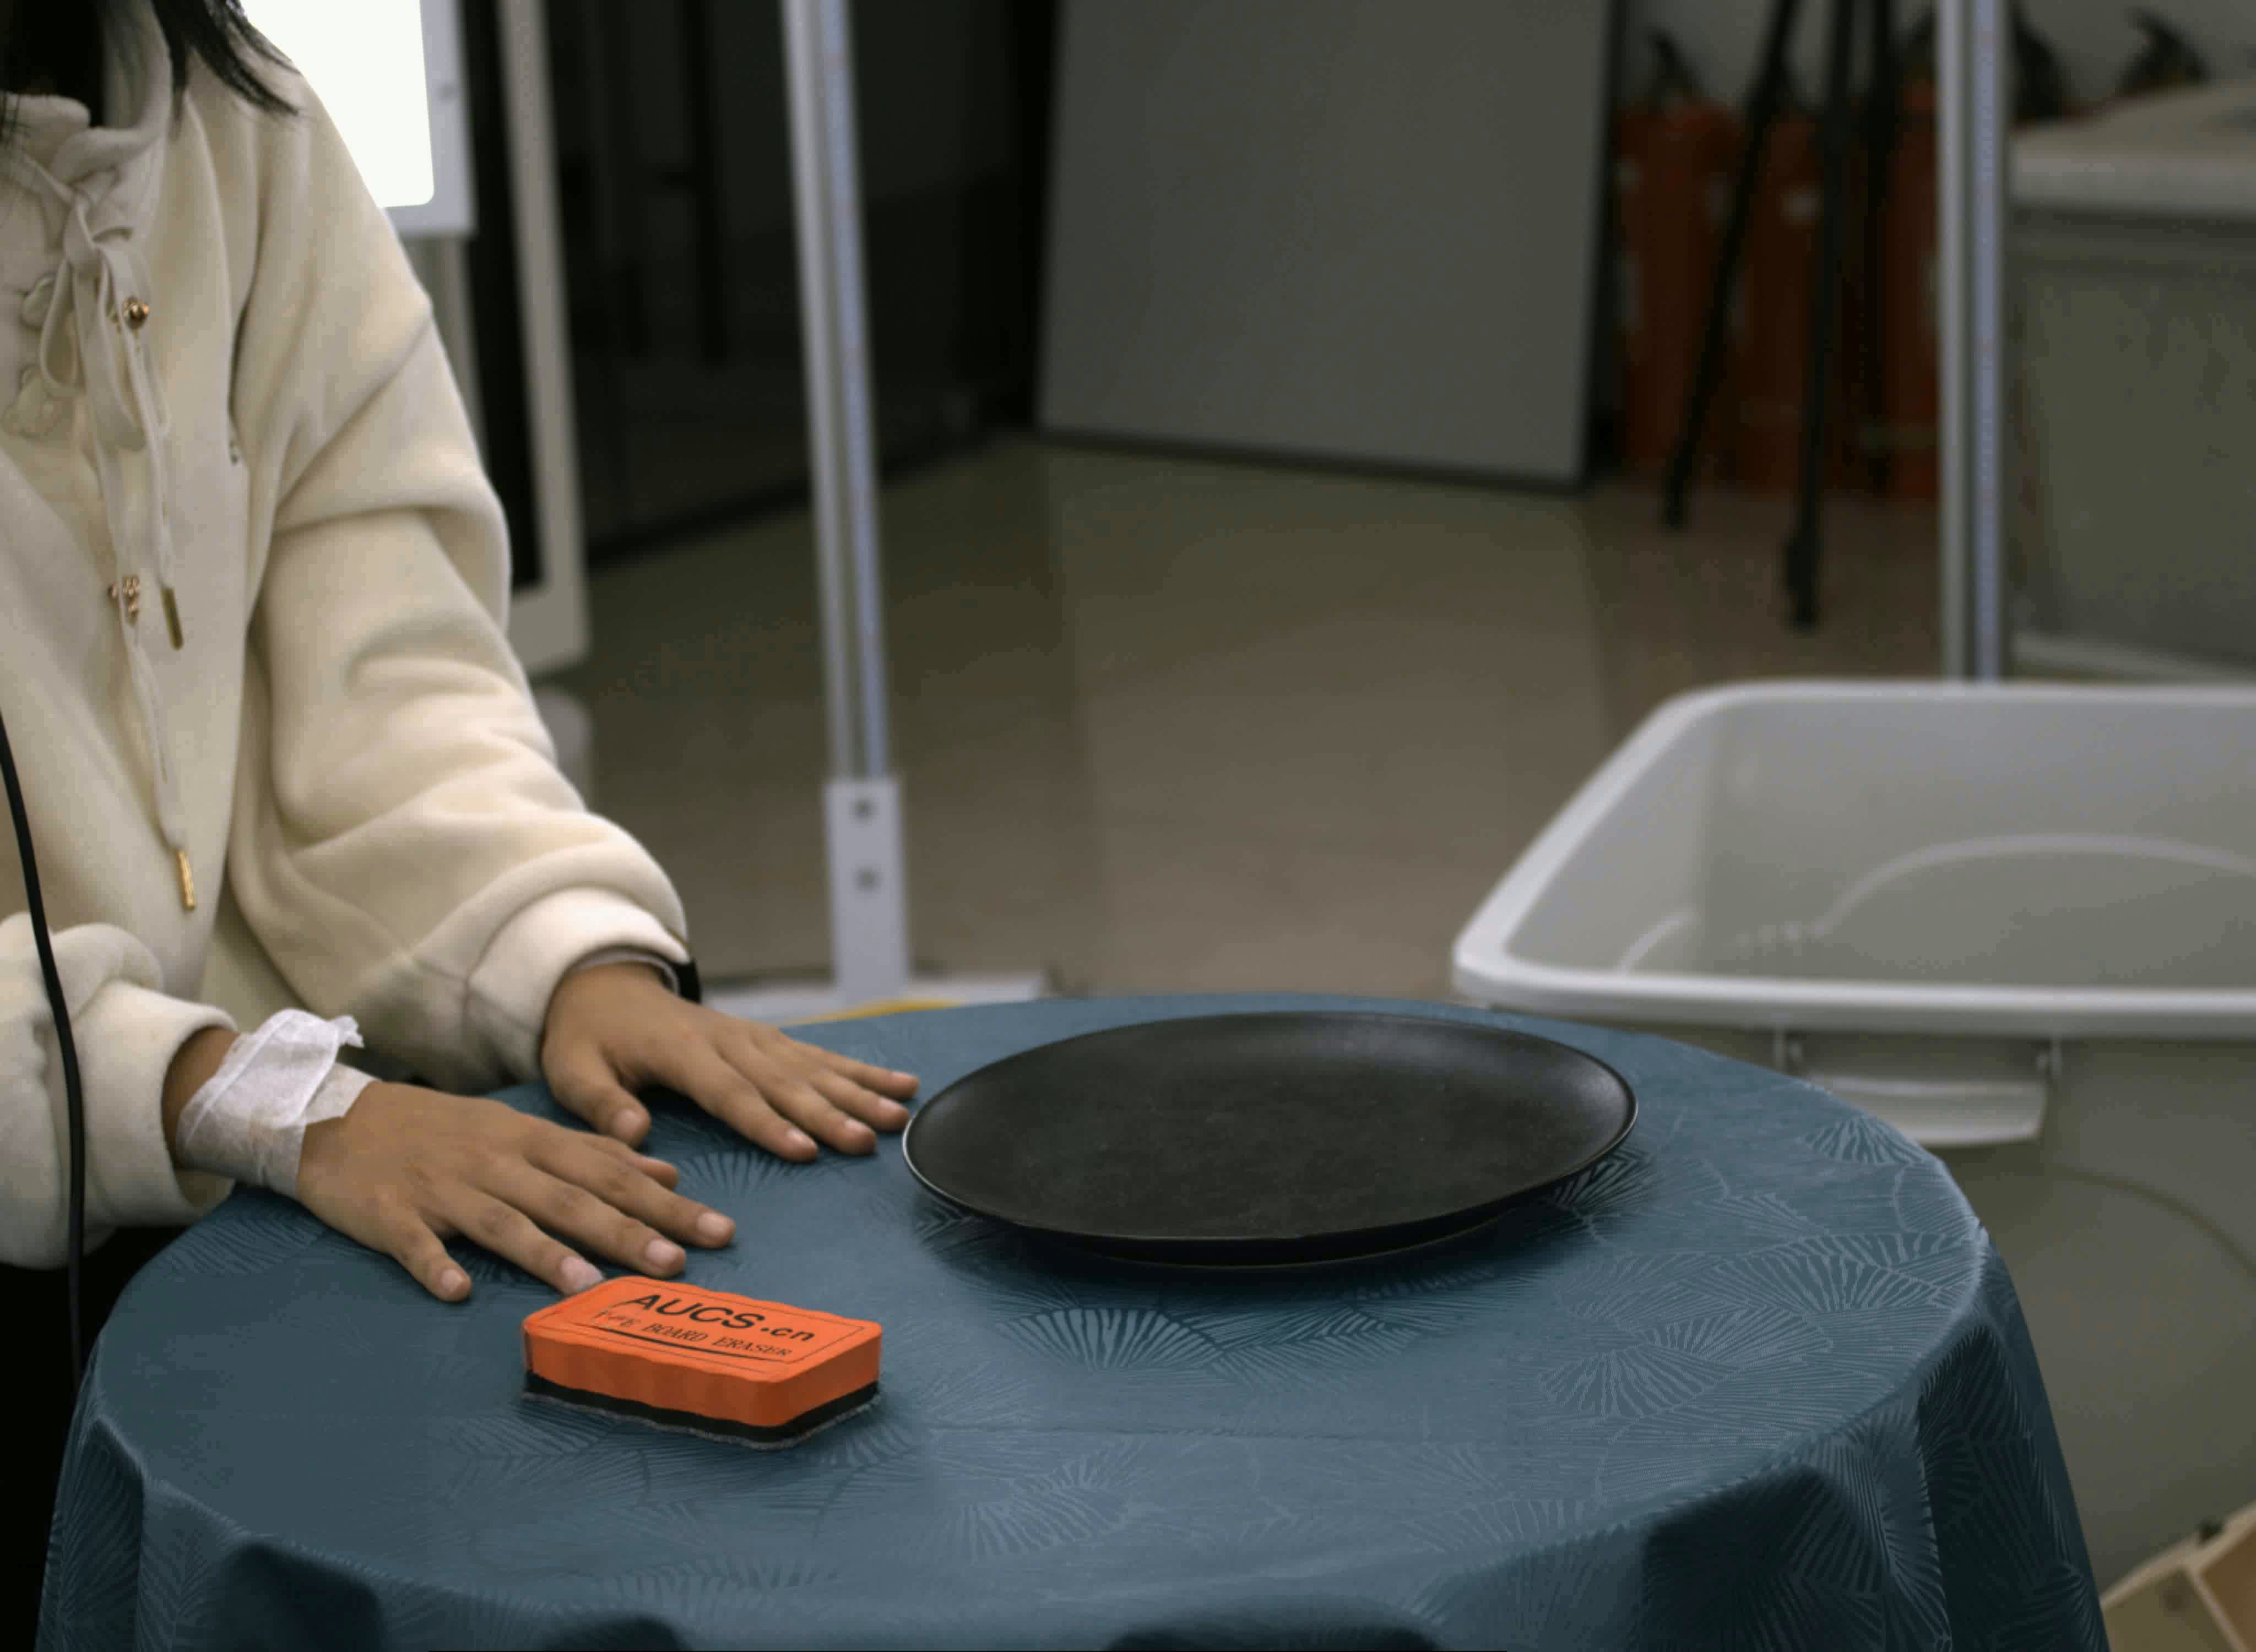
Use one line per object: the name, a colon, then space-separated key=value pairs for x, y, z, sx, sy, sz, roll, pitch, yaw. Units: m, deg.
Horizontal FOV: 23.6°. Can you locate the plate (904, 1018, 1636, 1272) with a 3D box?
plate: x=0.047 y=0.106 z=1.768 sx=0.241 sy=0.024 sz=0.245 roll=-4 pitch=14 yaw=0

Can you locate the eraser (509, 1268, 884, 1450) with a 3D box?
eraser: x=-0.127 y=0.157 z=1.601 sx=0.109 sy=0.023 sz=0.058 roll=9 pitch=20 yaw=36
